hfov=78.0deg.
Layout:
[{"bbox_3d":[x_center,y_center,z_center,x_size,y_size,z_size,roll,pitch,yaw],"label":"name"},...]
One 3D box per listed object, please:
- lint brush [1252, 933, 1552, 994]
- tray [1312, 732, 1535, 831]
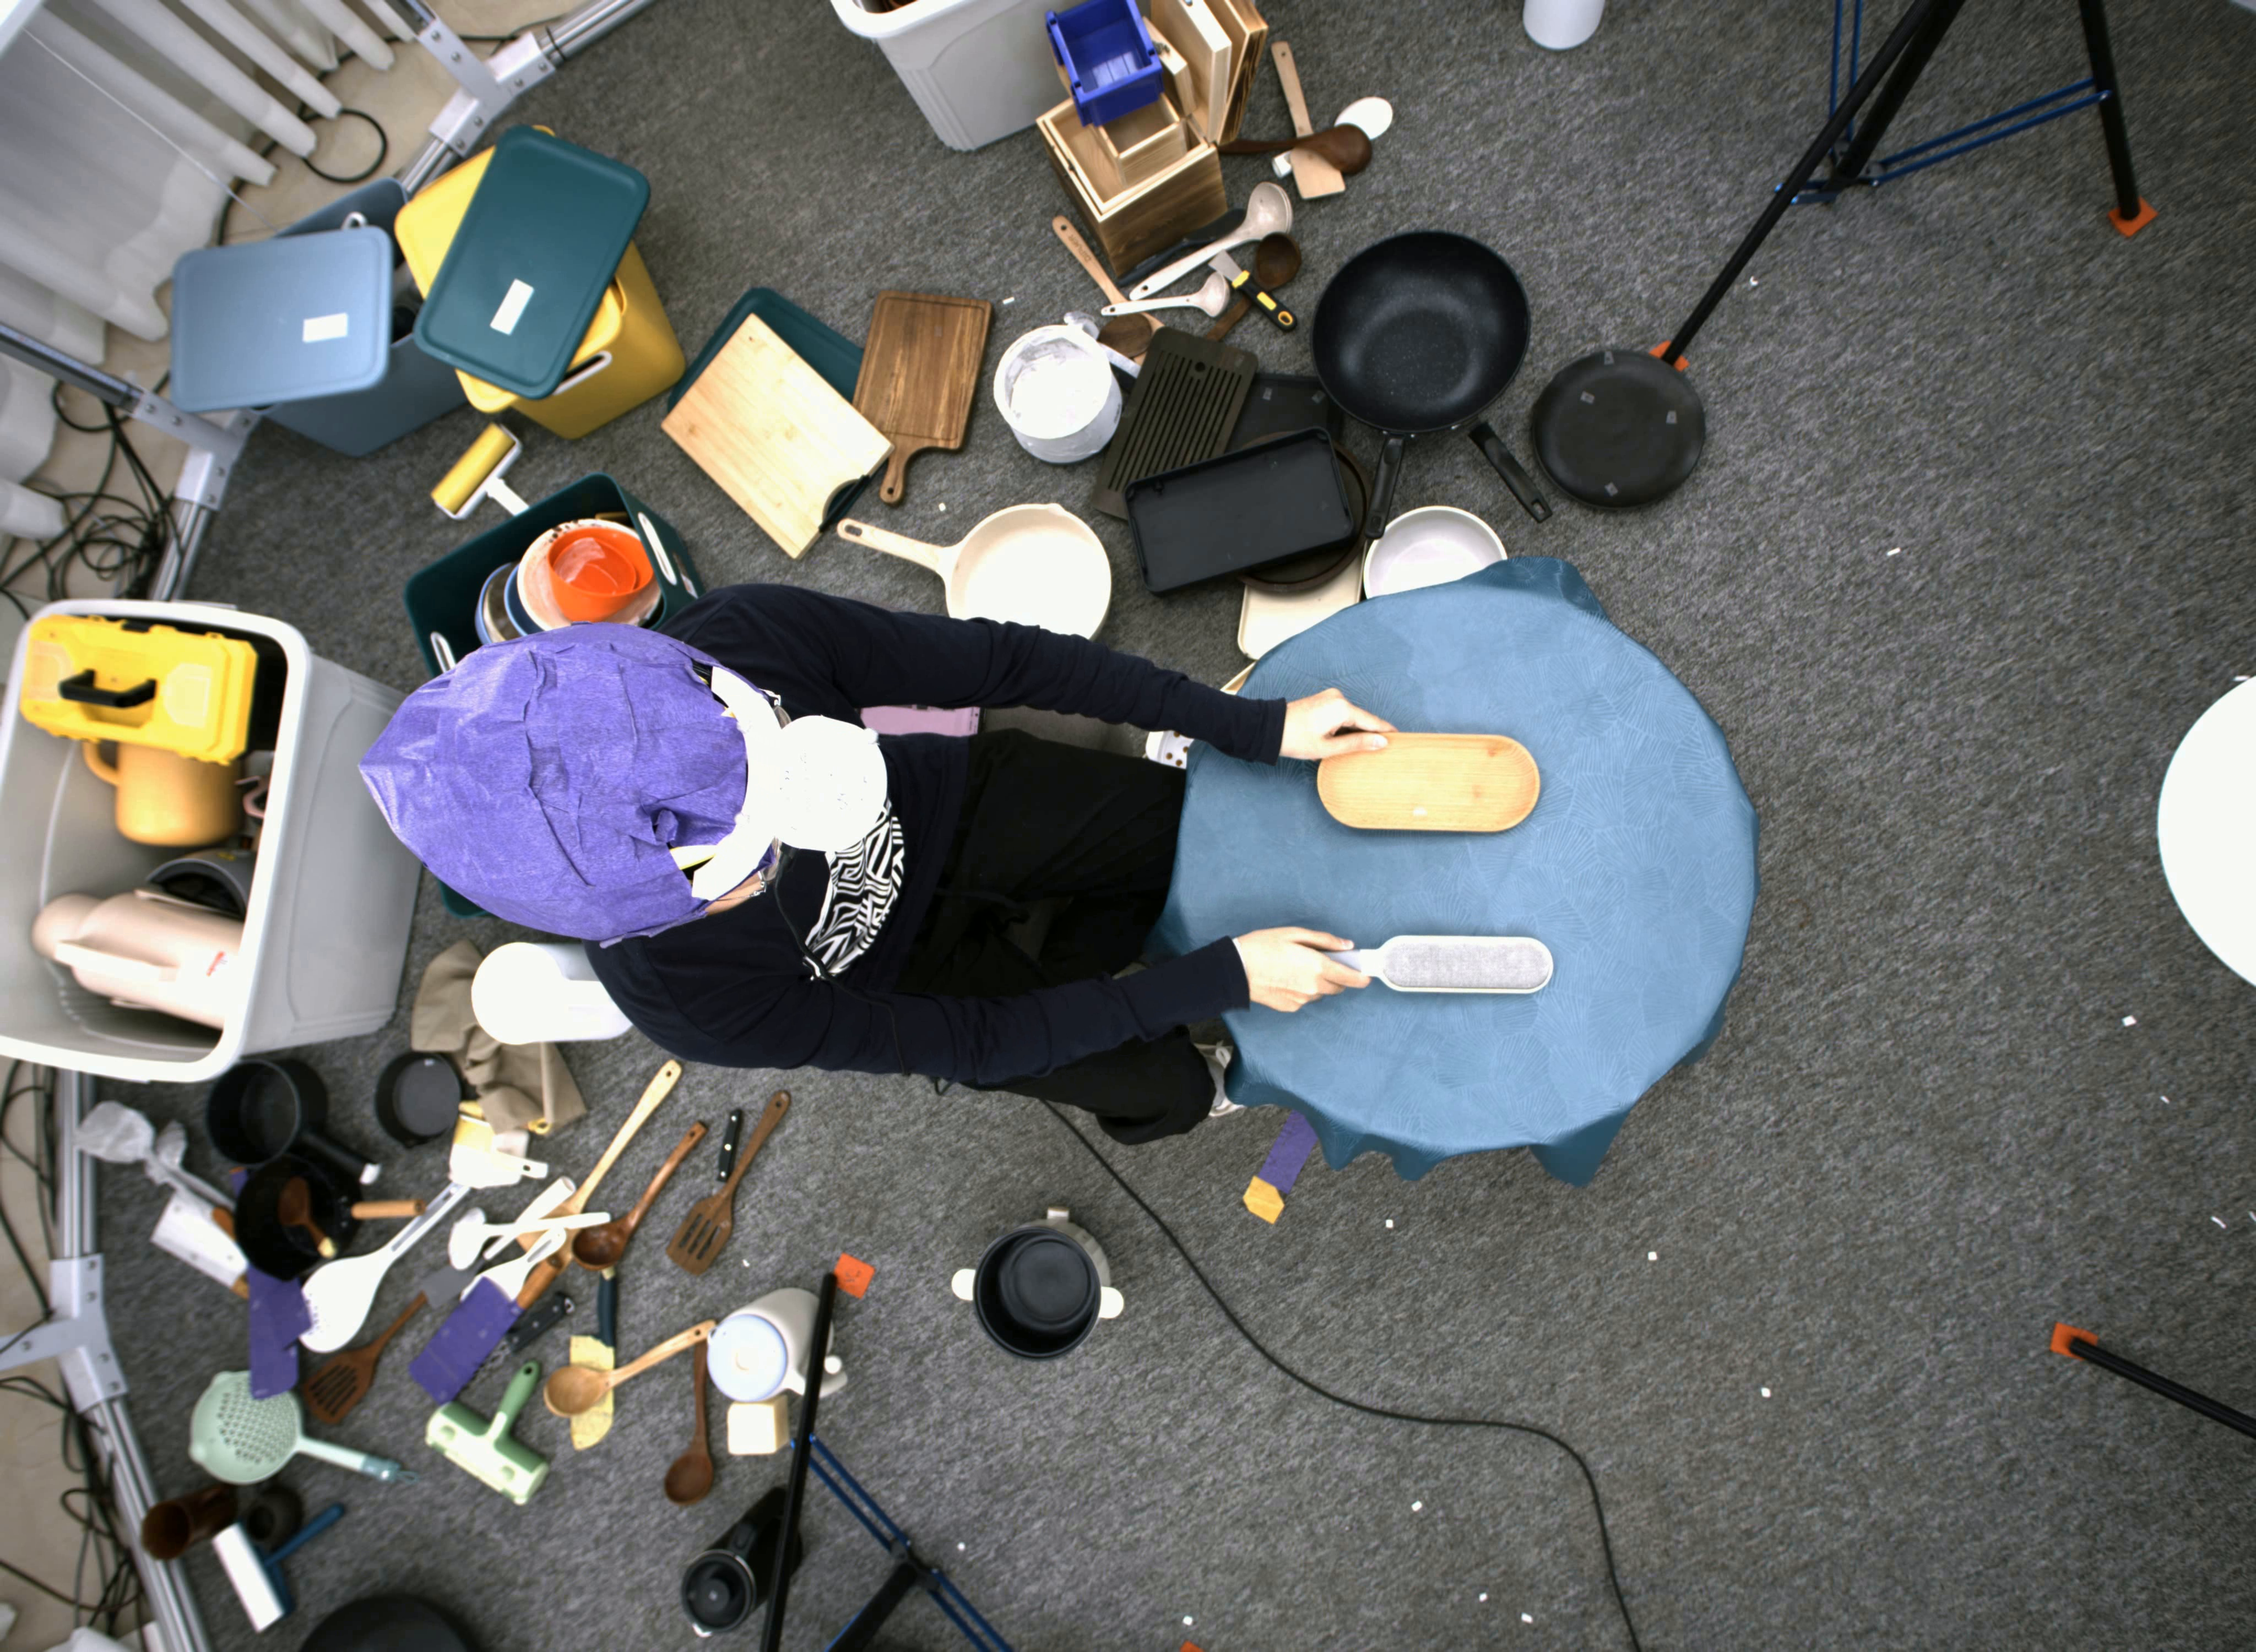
[{"bbox_3d":[0.282,0.138,1.419,0.309,0.021,0.060,1,94,2],"label":"lint brush"},{"bbox_3d":[0.307,-0.048,1.433,0.232,0.020,0.102,0,92,5],"label":"tray"}]
